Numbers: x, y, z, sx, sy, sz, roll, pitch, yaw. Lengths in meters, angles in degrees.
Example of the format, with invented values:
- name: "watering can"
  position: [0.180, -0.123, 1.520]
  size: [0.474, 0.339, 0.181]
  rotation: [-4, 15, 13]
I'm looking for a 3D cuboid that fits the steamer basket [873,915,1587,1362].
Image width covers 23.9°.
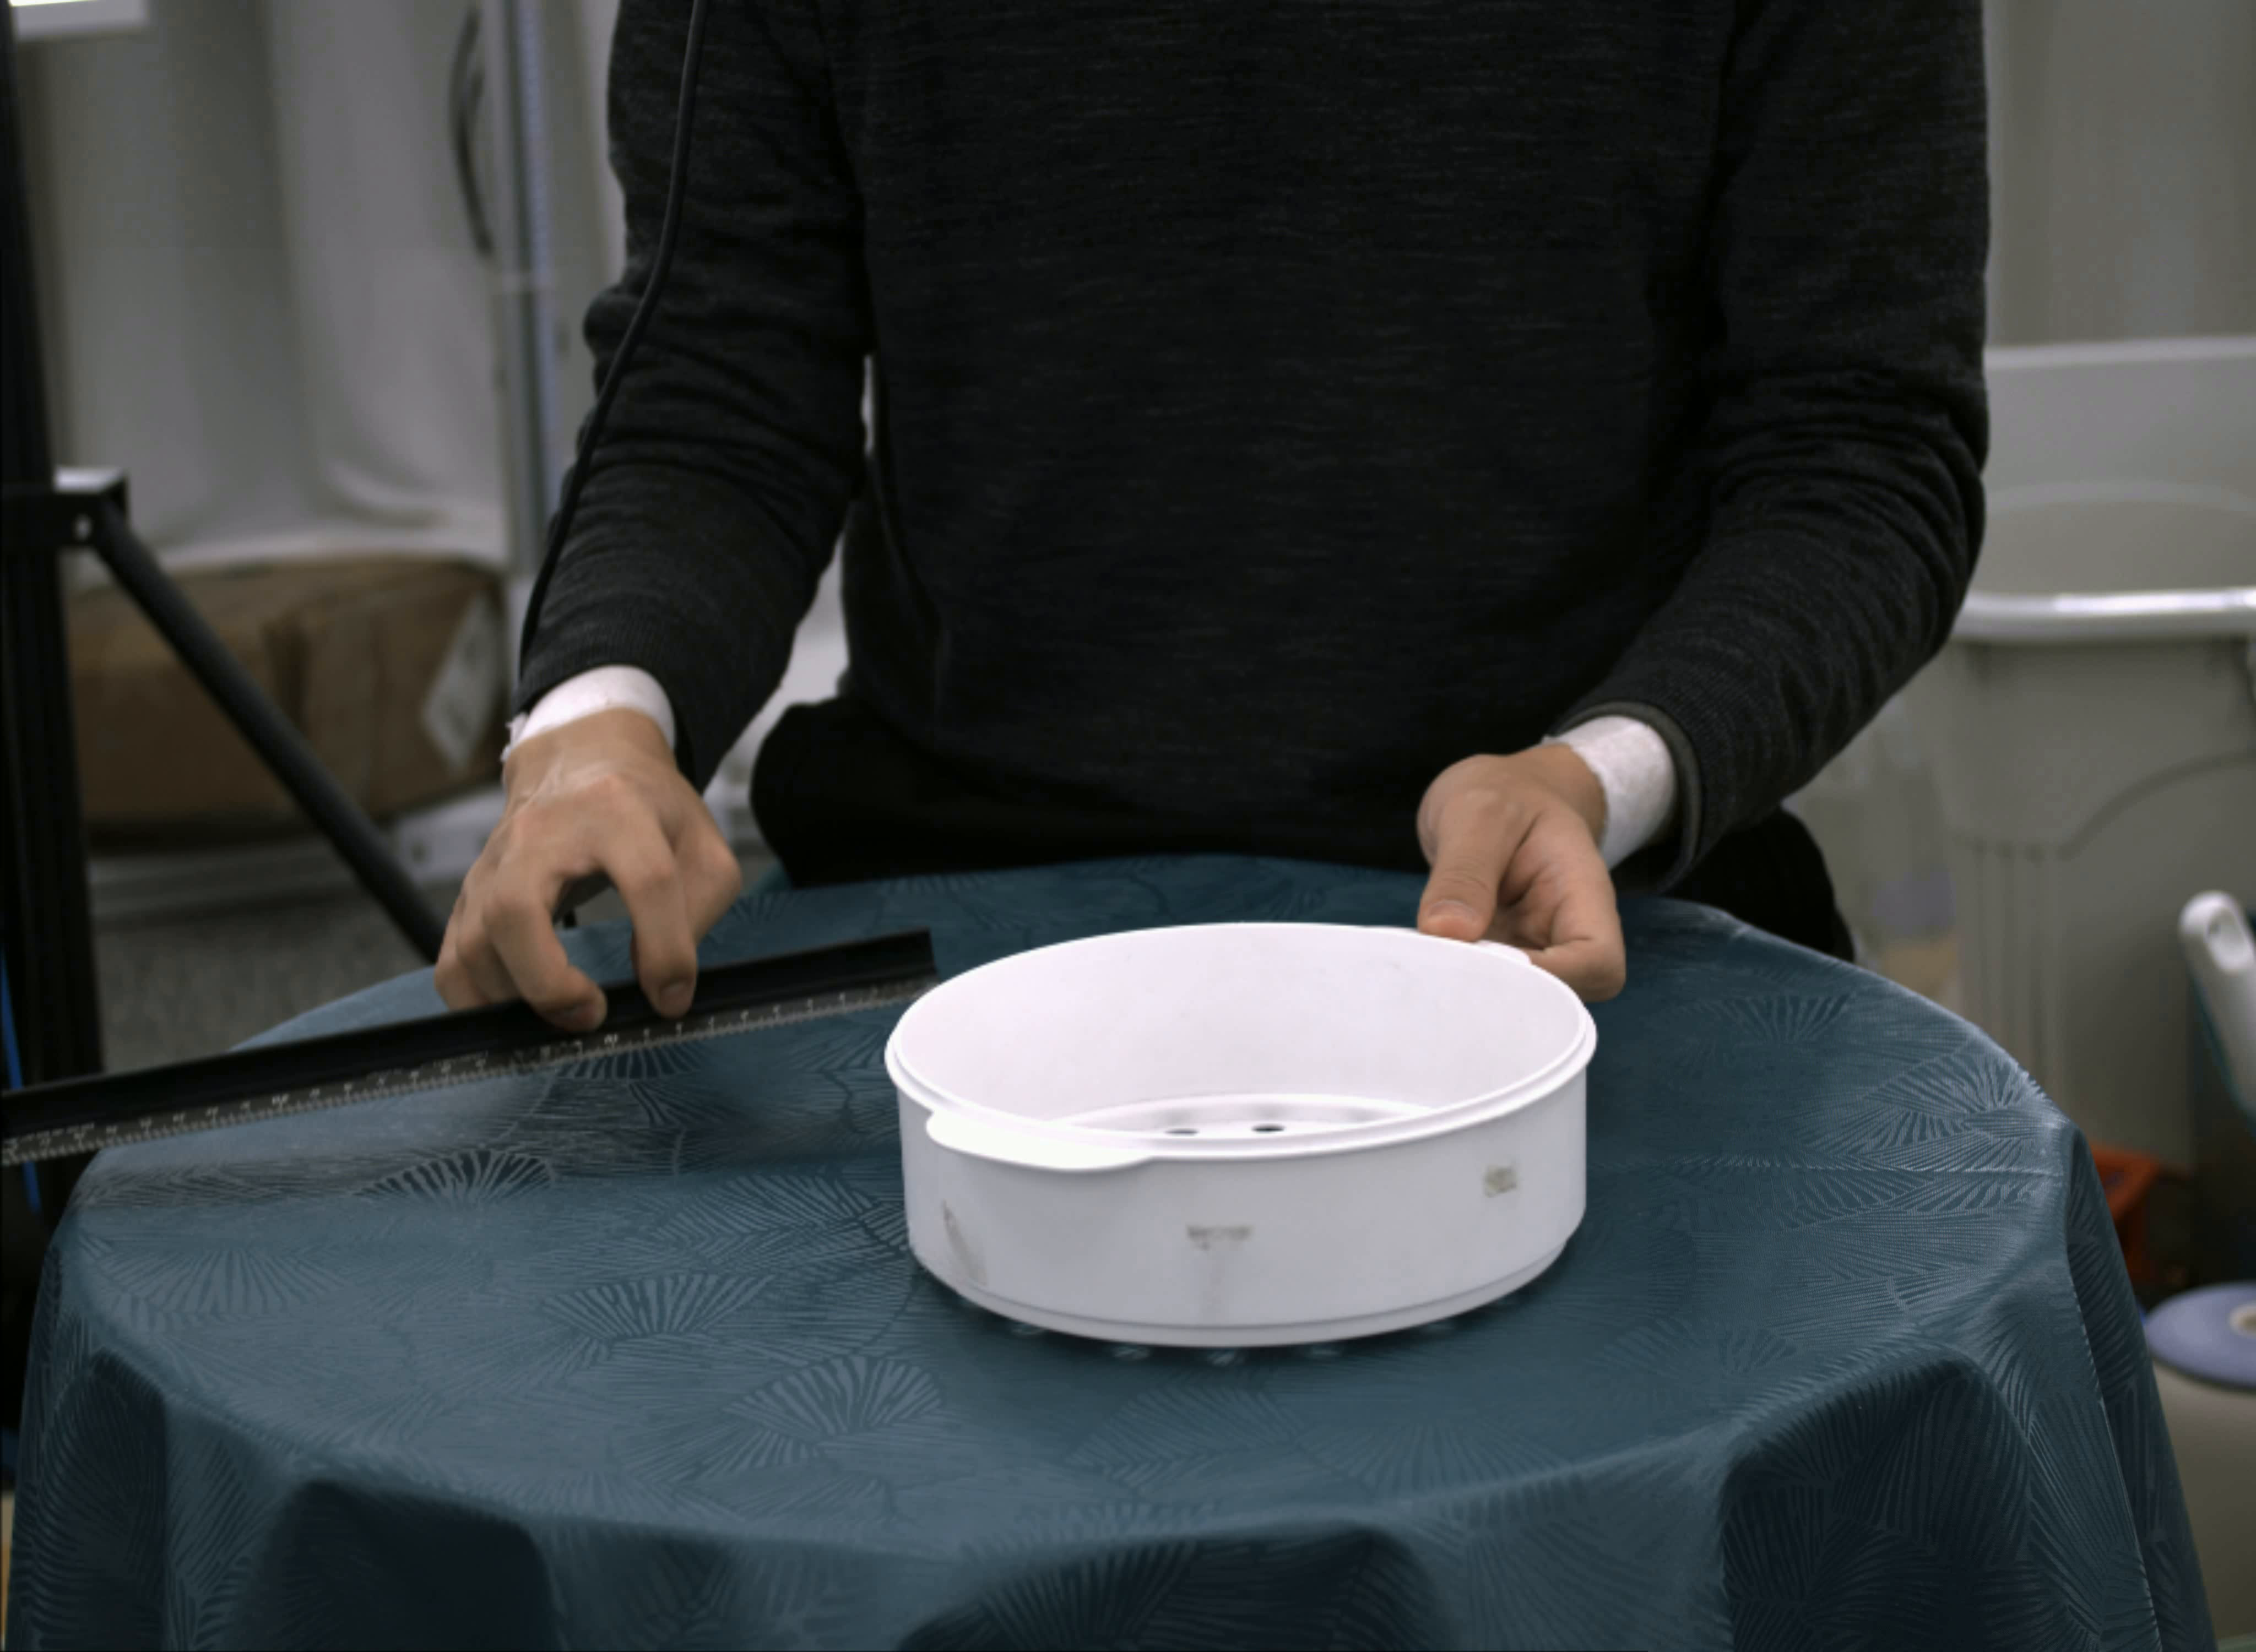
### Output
- name: "steamer basket"
  position: [0.030, 0.088, 1.498]
  size: [0.206, 0.069, 0.226]
  rotation: [9, 22, 36]

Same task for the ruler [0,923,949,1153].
- name: "ruler"
  position: [-0.208, 0.065, 1.599]
  size: [0.310, 0.017, 0.039]
  rotation: [-10, 14, -2]
